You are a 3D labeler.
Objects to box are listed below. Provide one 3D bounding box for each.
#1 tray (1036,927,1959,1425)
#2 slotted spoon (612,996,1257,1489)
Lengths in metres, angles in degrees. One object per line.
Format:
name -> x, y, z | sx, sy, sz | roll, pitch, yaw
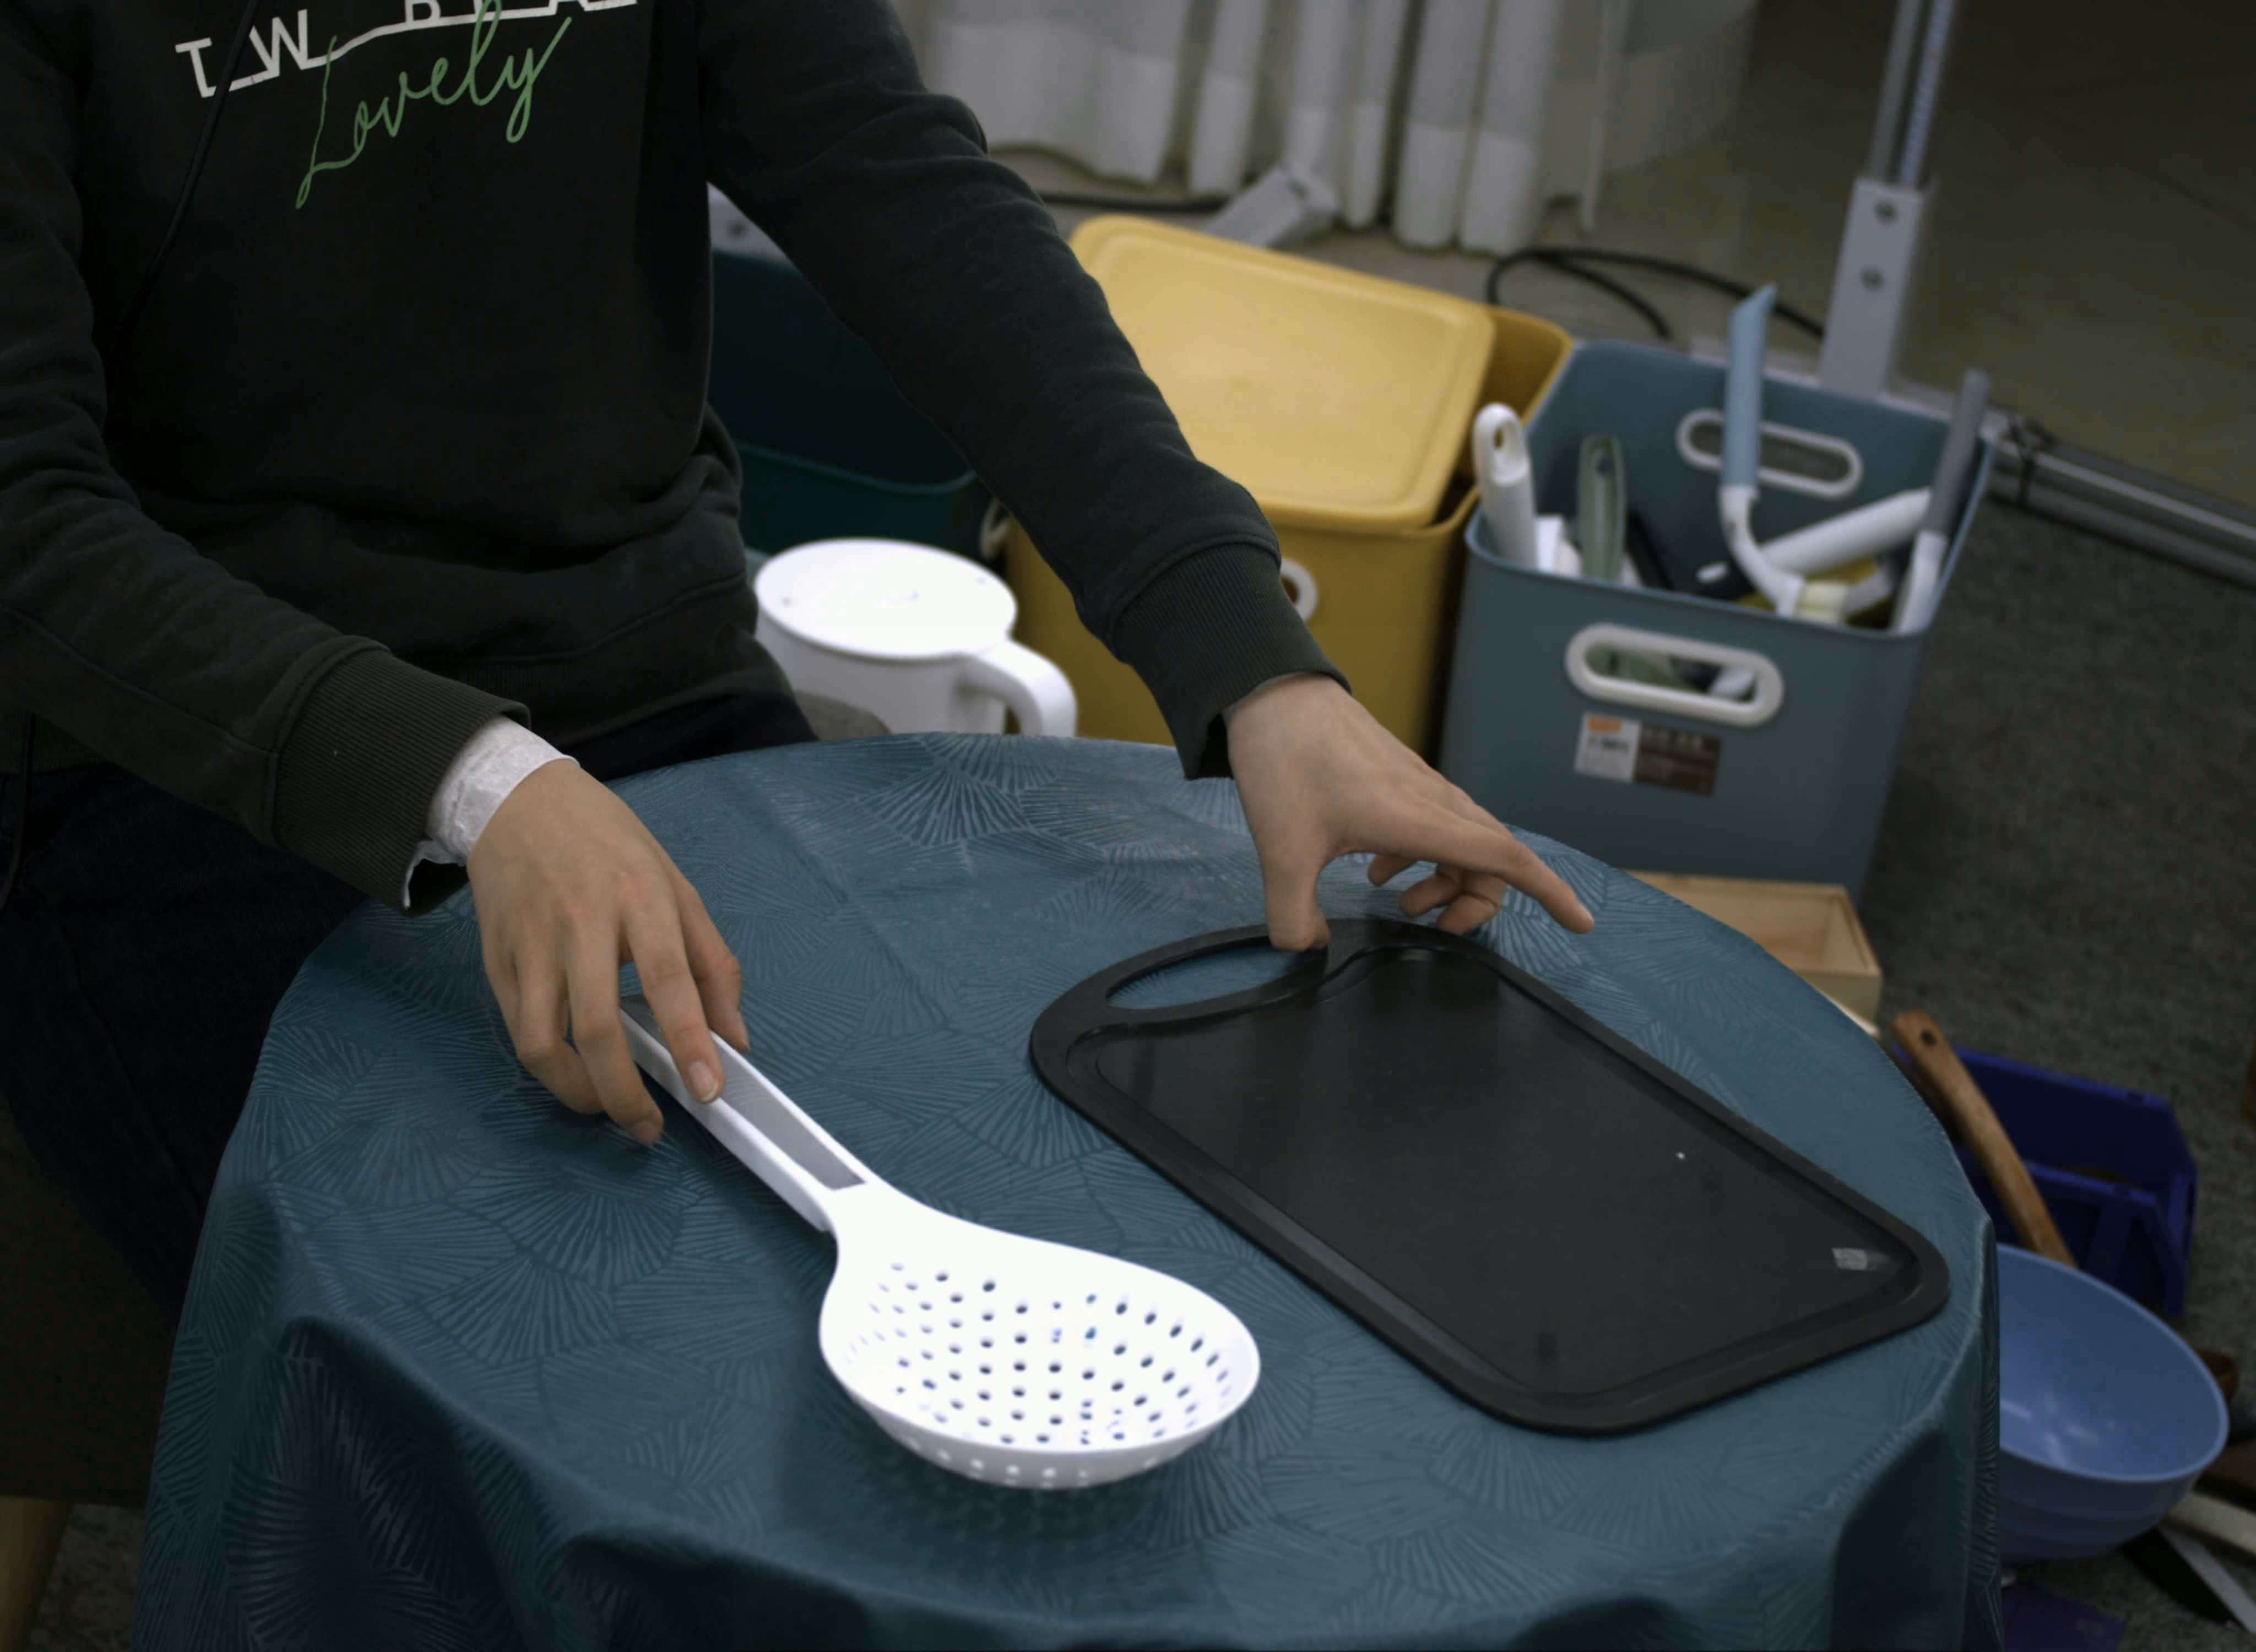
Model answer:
tray -> 0.118, 0.111, 1.844 | 0.210, 0.010, 0.328 | -14, 33, -35
slotted spoon -> -0.083, 0.128, 1.722 | 0.135, 0.045, 0.353 | -7, 29, -30
